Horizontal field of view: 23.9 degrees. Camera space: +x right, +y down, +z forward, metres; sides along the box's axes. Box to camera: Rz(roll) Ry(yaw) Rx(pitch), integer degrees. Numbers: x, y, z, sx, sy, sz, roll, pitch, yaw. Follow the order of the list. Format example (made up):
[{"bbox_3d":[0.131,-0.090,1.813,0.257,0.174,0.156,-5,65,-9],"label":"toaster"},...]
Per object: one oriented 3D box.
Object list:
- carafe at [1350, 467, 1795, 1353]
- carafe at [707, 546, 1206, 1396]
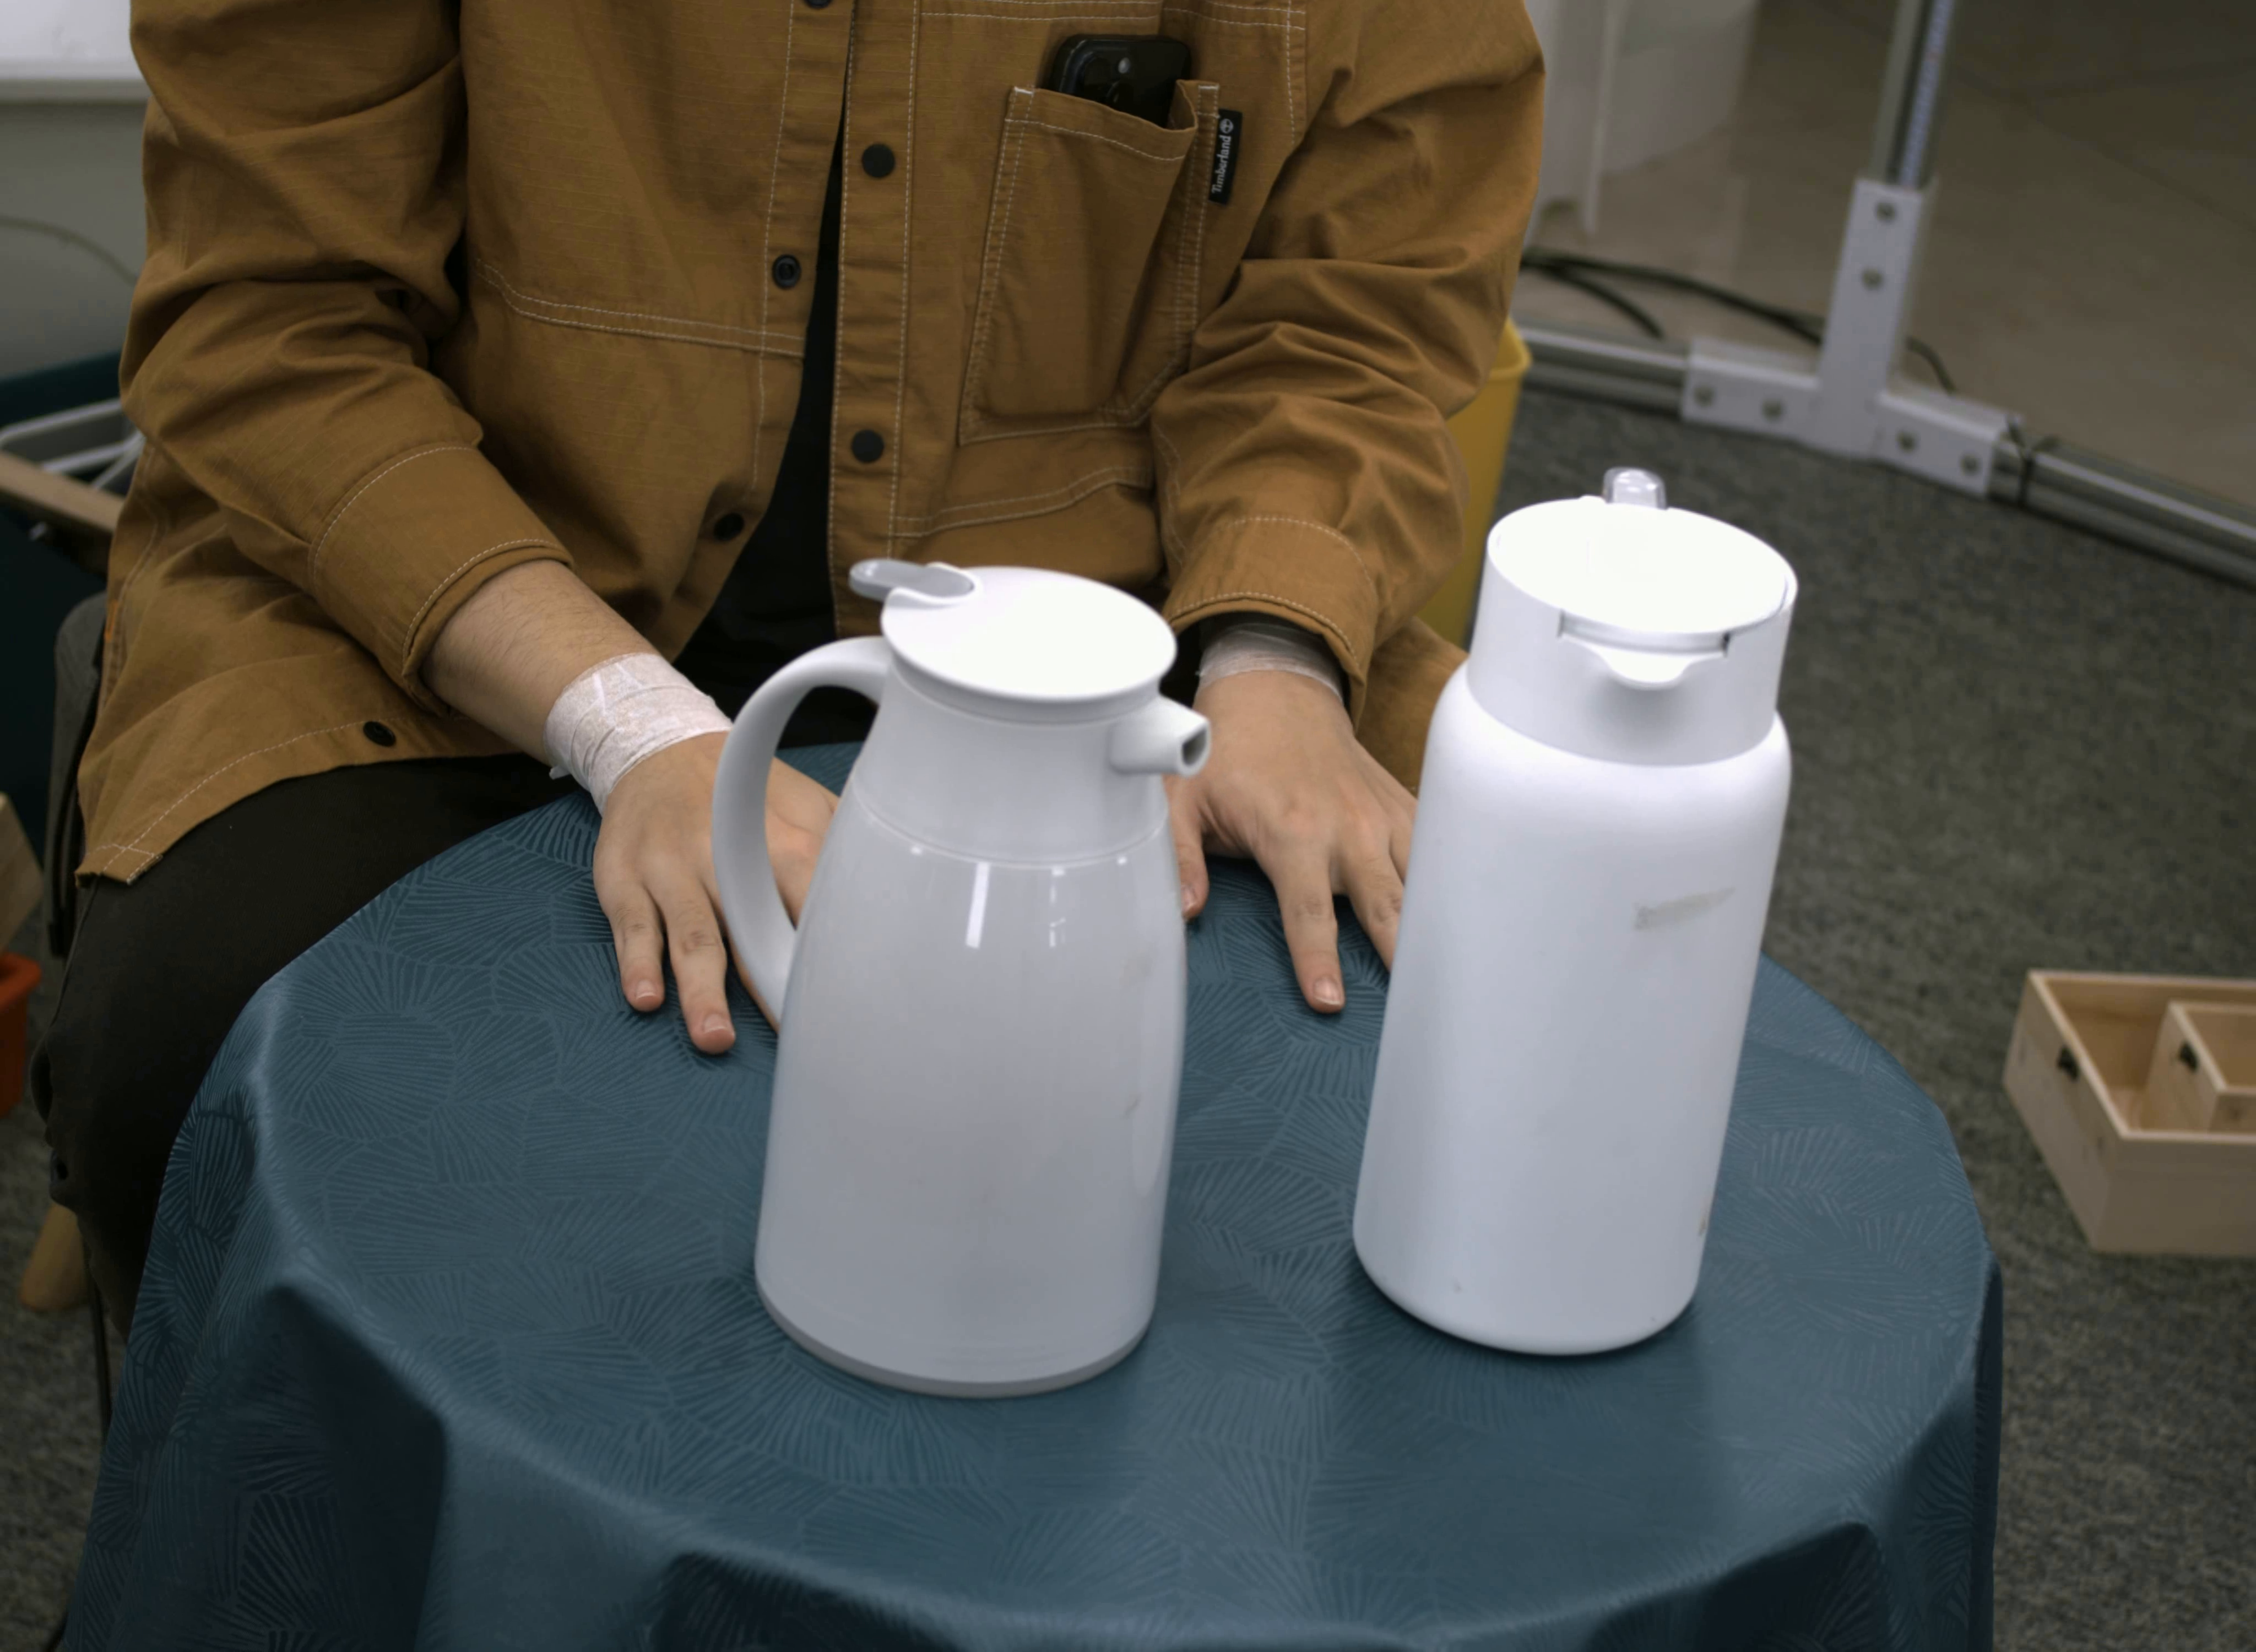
[{"bbox_3d":[0.145,0.024,1.740,0.123,0.268,0.174,5,26,0],"label":"carafe"},{"bbox_3d":[-0.062,0.036,1.691,0.168,0.248,0.132,19,28,24],"label":"carafe"}]
